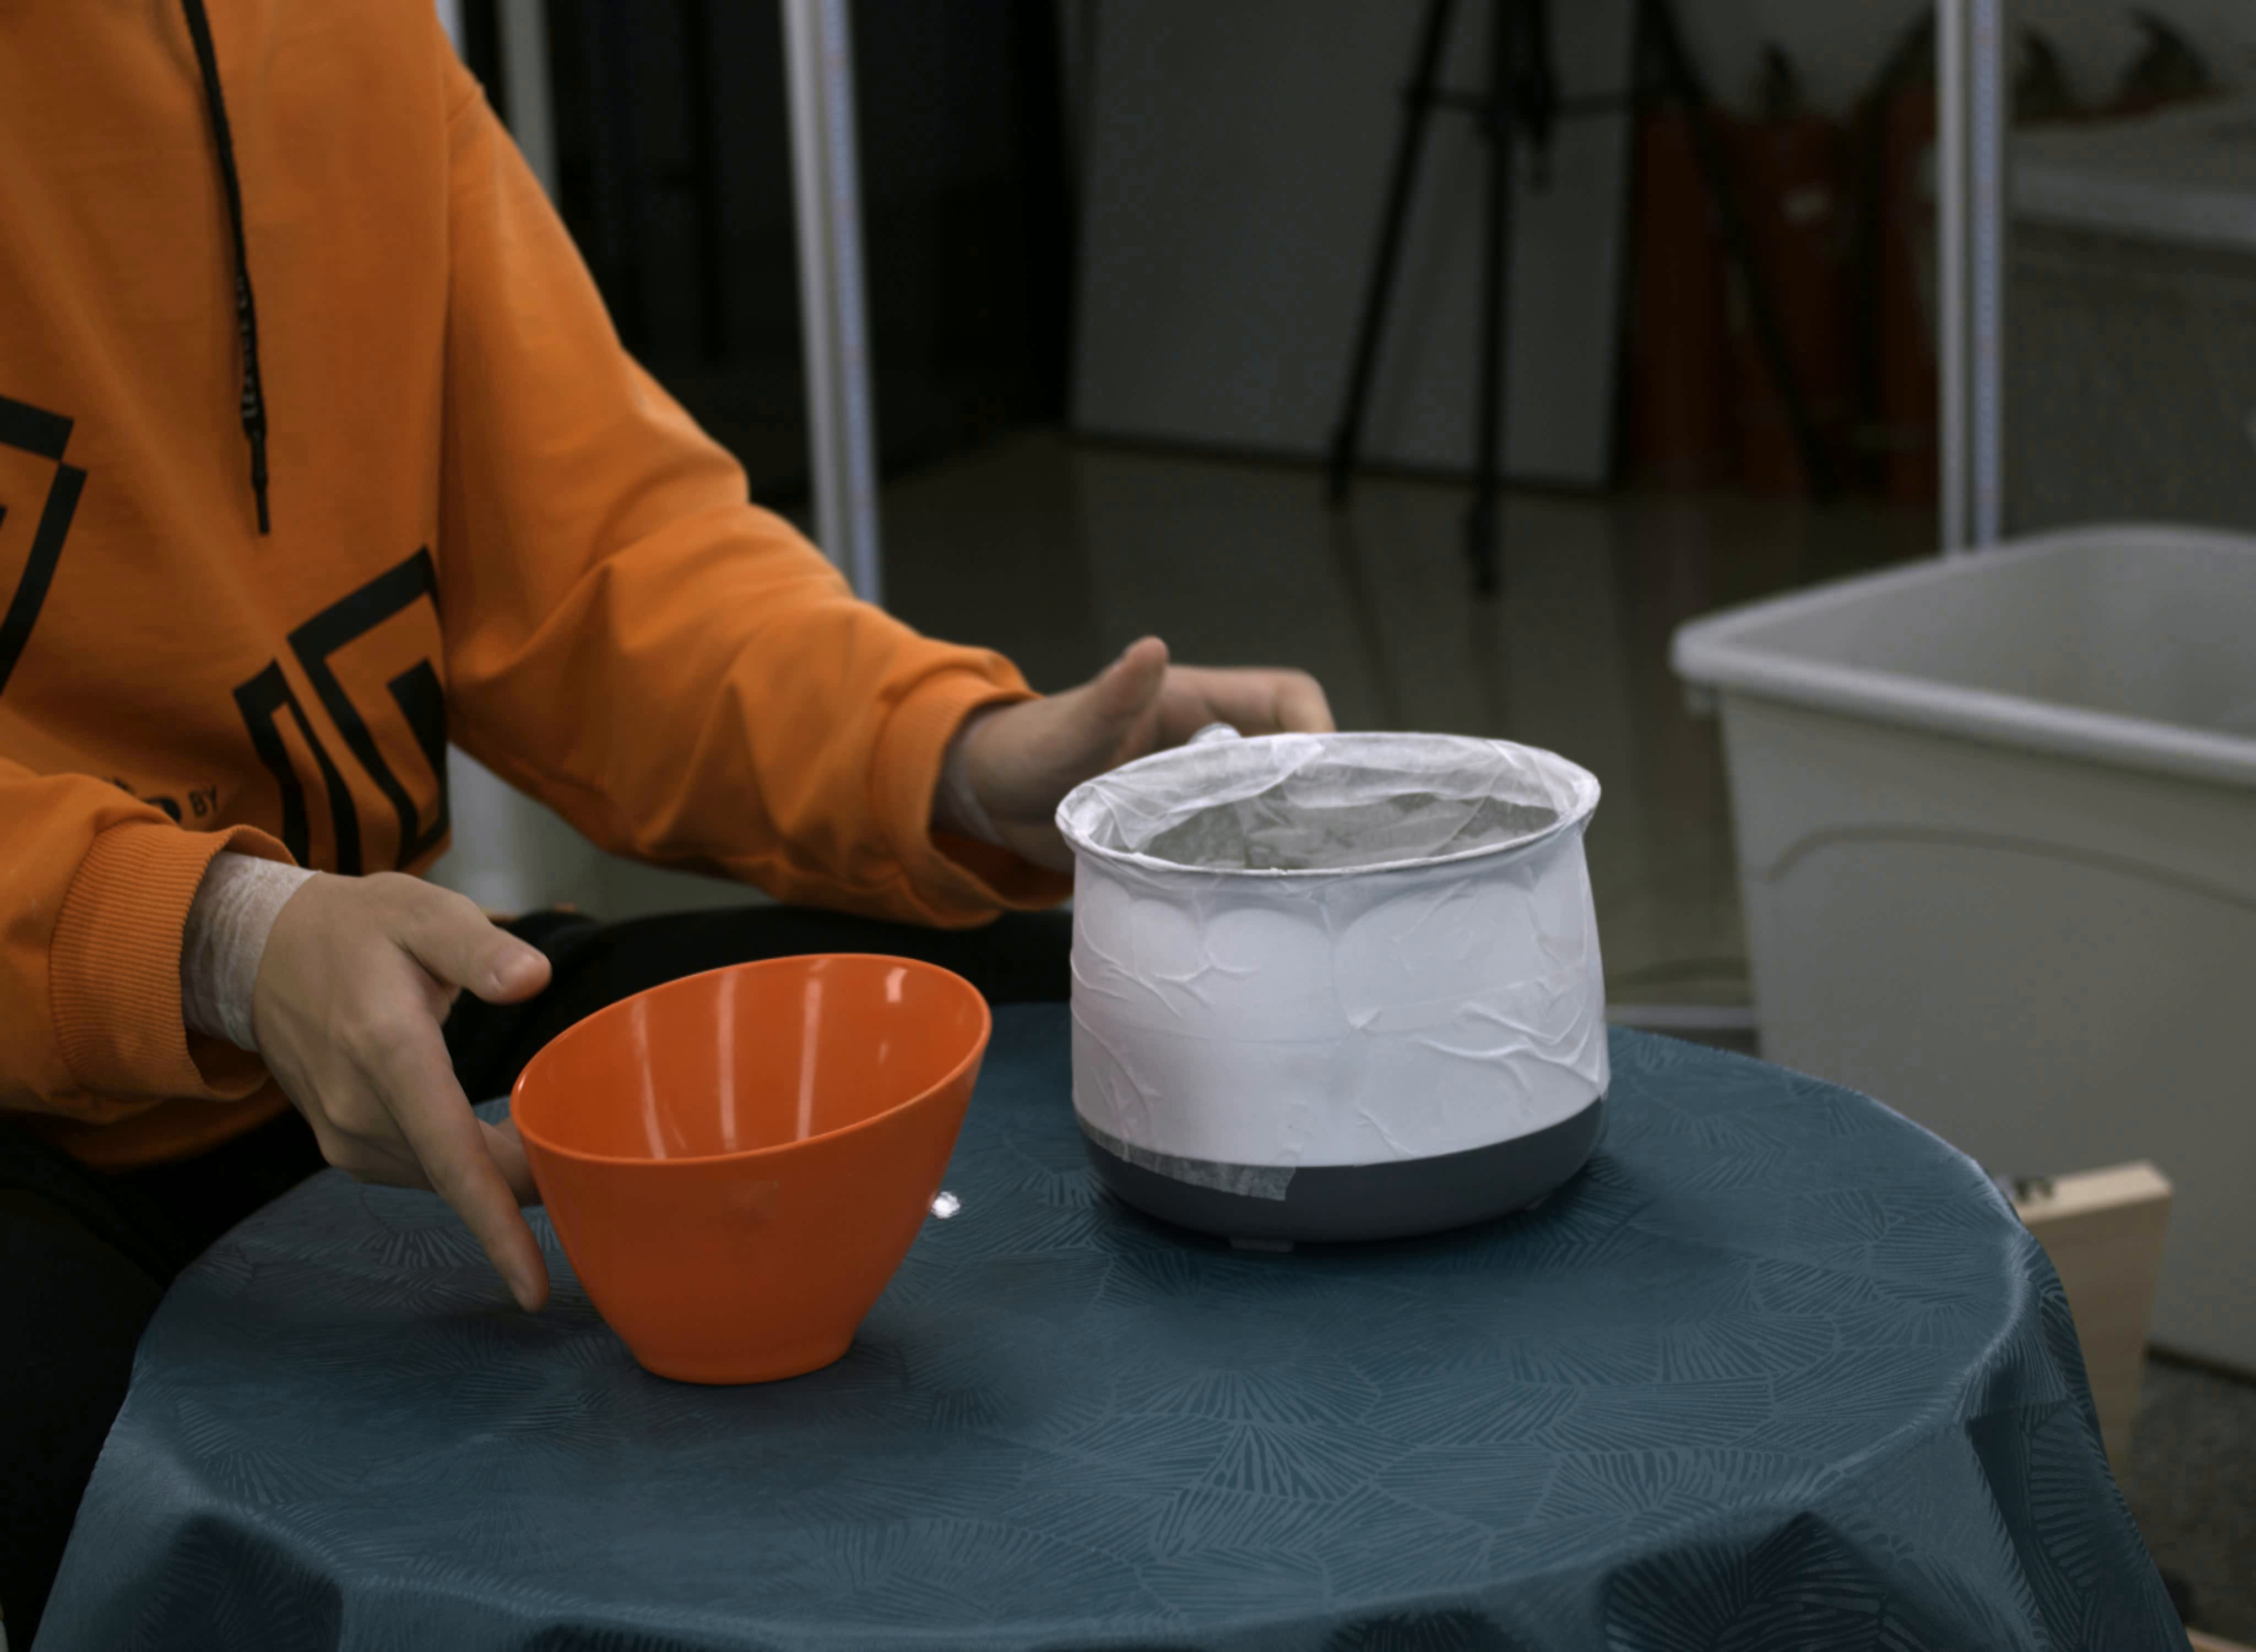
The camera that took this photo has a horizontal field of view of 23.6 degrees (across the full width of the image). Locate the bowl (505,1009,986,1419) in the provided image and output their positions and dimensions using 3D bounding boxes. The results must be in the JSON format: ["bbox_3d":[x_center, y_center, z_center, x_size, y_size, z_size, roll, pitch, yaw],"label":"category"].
[{"bbox_3d":[-0.114,0.119,1.638,0.146,0.106,0.148,-2,8,-1],"label":"bowl"}]

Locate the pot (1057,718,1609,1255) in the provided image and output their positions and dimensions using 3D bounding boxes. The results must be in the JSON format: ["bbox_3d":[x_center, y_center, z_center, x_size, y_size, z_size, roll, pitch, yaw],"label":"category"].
[{"bbox_3d":[0.057,0.046,1.770,0.175,0.138,0.236,-8,15,-19],"label":"pot"}]
